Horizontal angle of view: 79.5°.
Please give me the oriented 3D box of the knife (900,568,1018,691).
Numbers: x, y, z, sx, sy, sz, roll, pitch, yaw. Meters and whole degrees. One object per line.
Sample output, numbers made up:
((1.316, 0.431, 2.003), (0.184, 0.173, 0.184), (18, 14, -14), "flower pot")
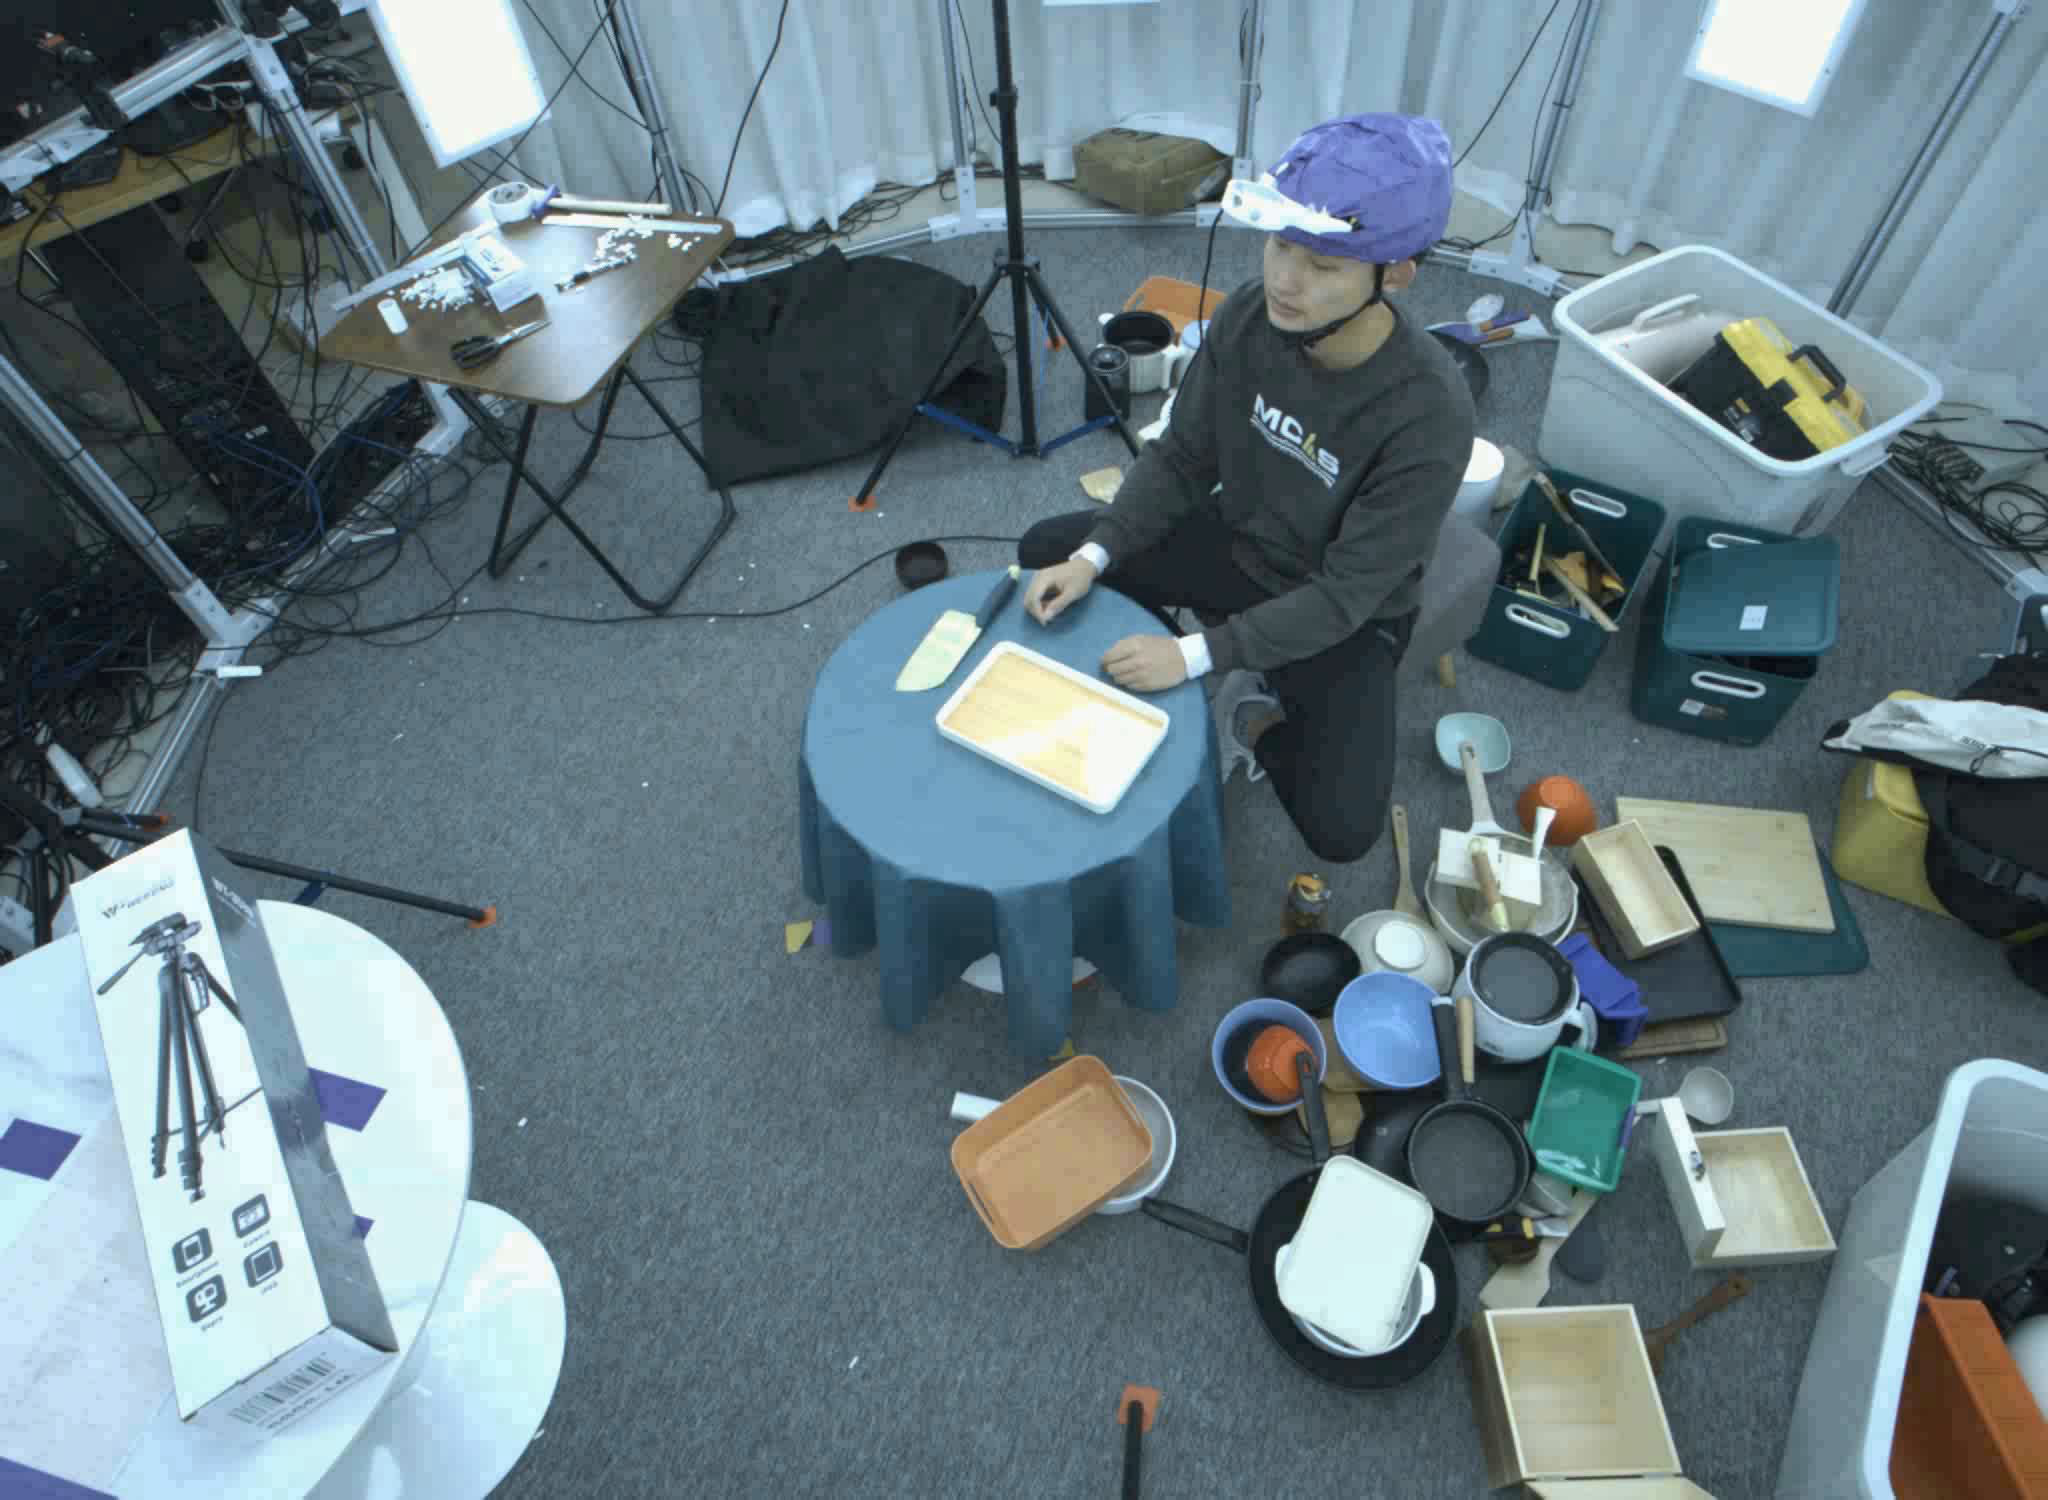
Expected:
((-0.101, -0.192, 1.926), (0.080, 0.027, 0.290), (28, 60, 18), "knife")

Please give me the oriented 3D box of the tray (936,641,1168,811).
((0.041, -0.040, 1.806), (0.296, 0.027, 0.192), (27, 58, 19), "tray")
